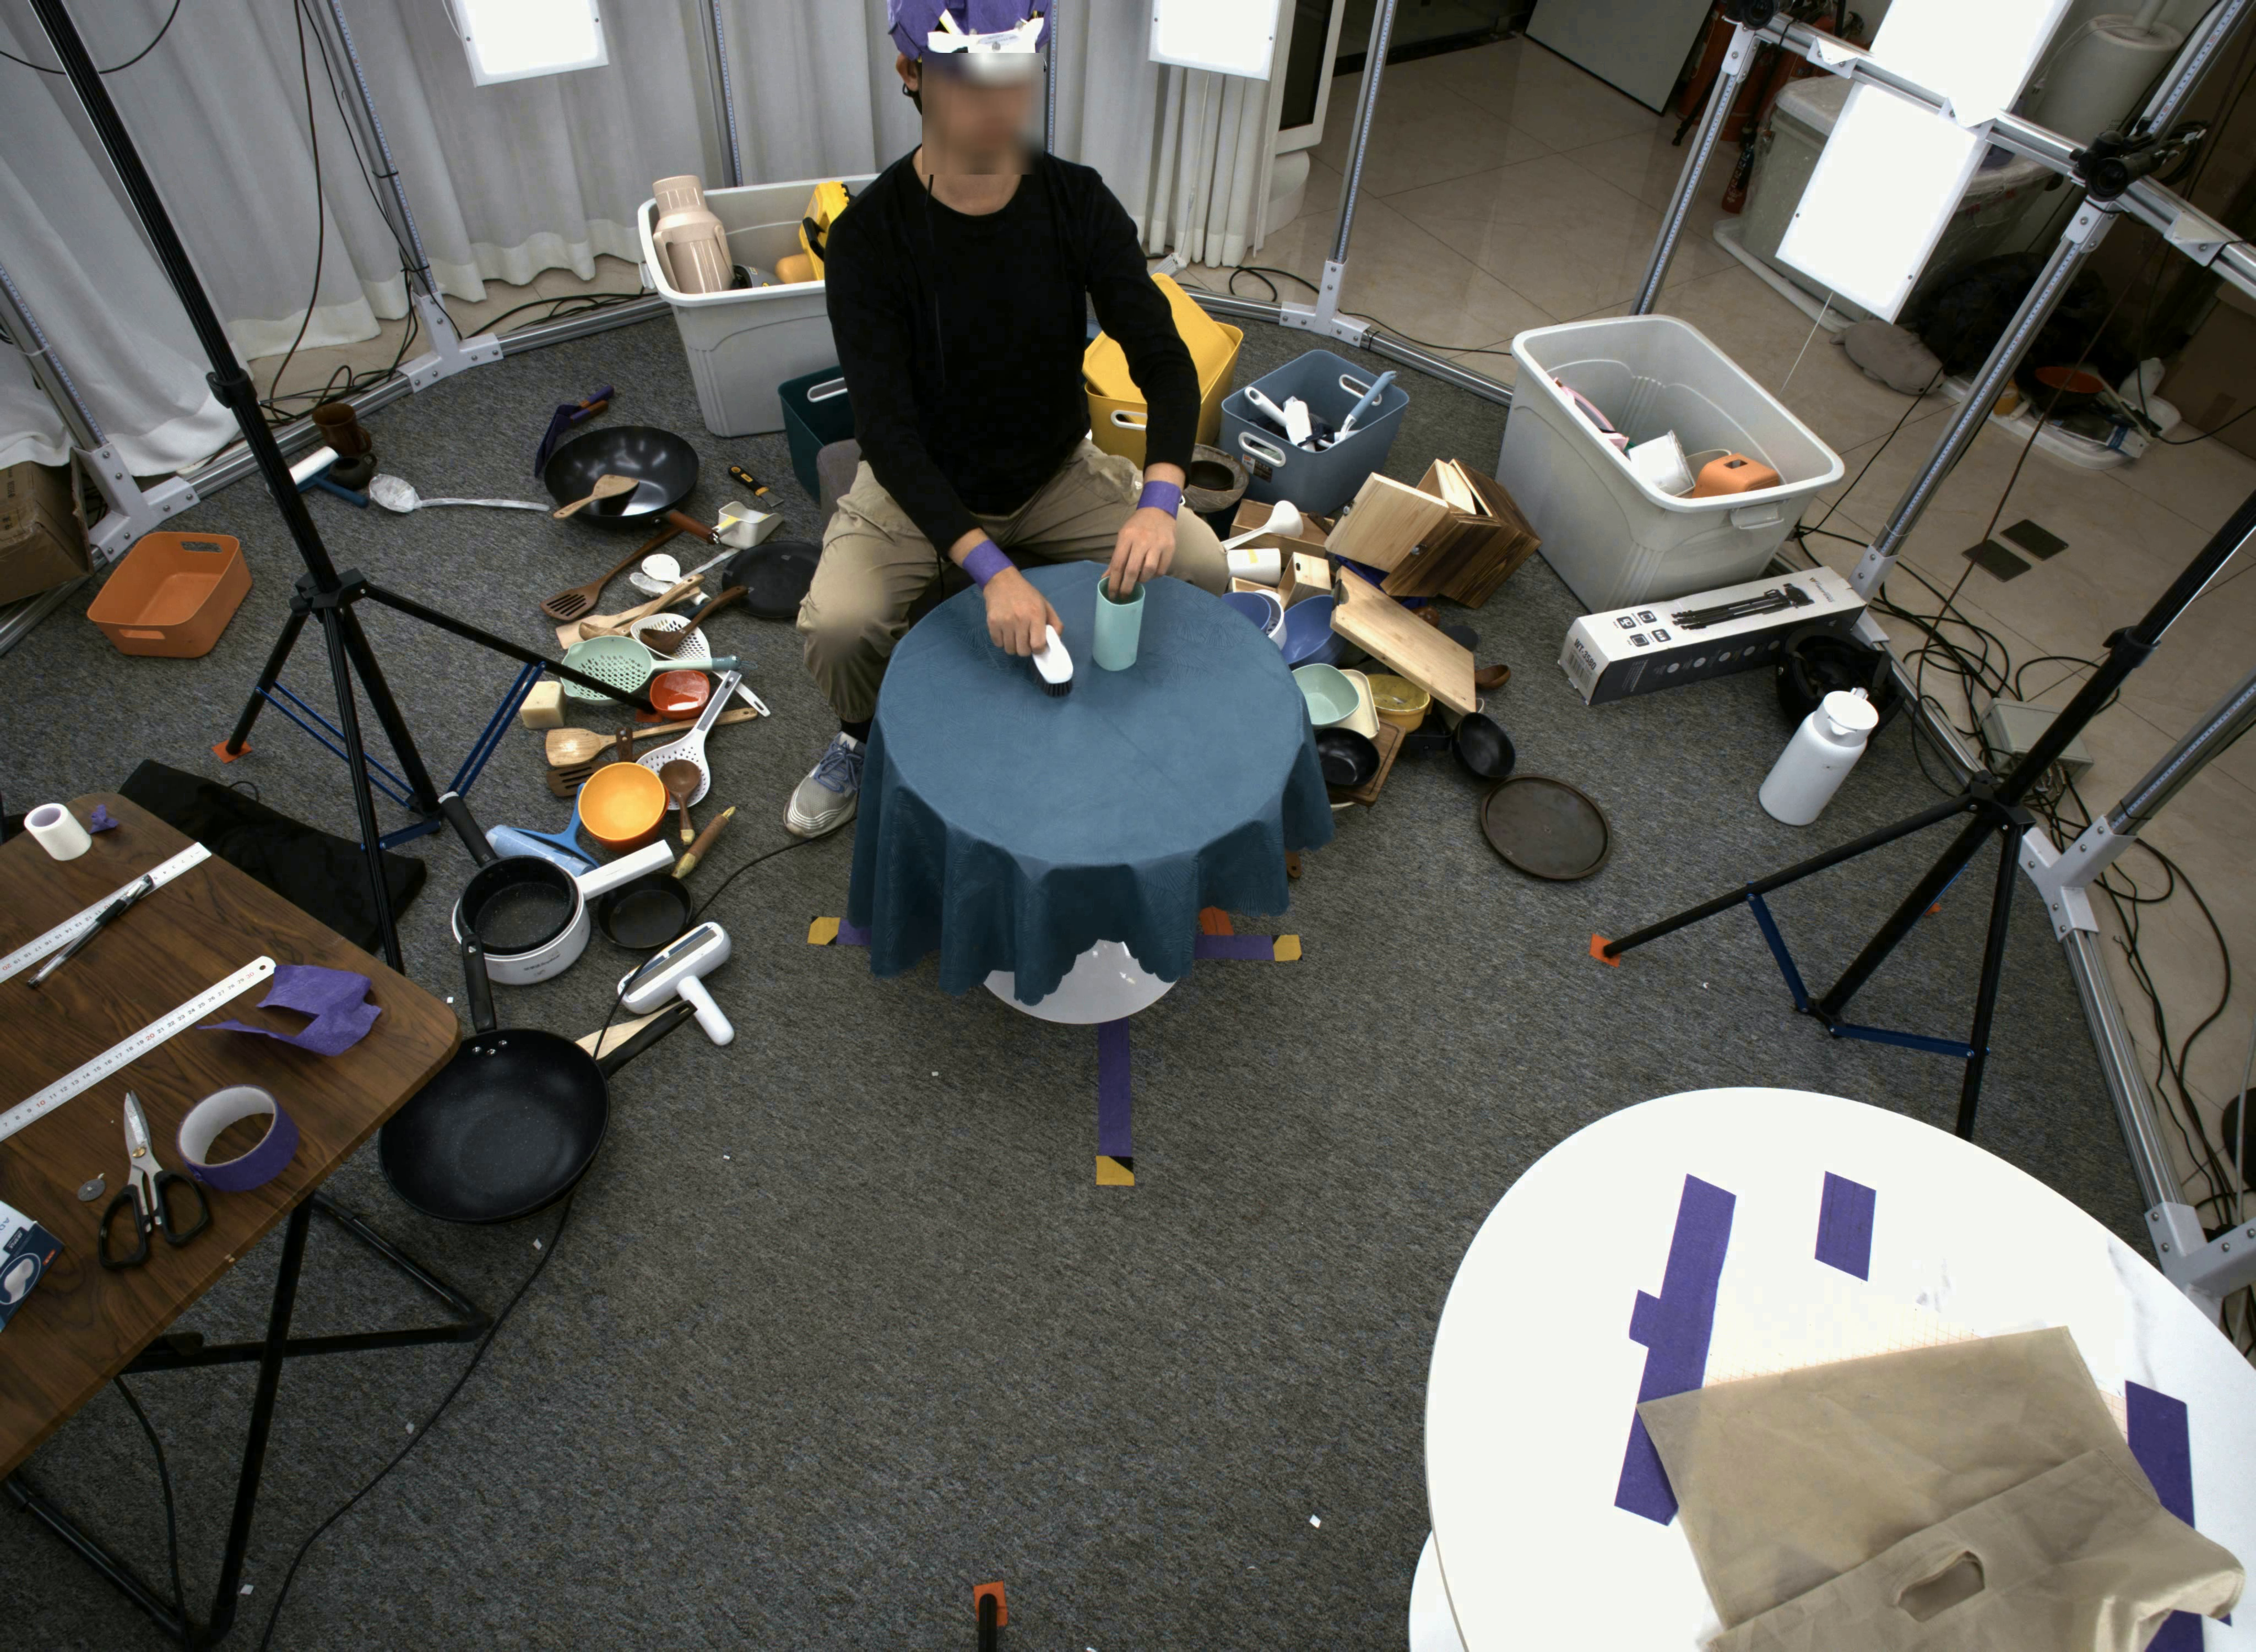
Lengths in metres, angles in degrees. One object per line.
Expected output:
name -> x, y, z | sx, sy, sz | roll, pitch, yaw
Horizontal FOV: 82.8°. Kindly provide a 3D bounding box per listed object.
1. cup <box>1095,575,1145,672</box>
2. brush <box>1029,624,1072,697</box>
cup -> -0.014, -0.287, 1.834 | 0.066, 0.129, 0.068 | 3, 52, -4
brush -> -0.110, -0.243, 1.822 | 0.050, 0.071, 0.101 | -11, 51, -15
